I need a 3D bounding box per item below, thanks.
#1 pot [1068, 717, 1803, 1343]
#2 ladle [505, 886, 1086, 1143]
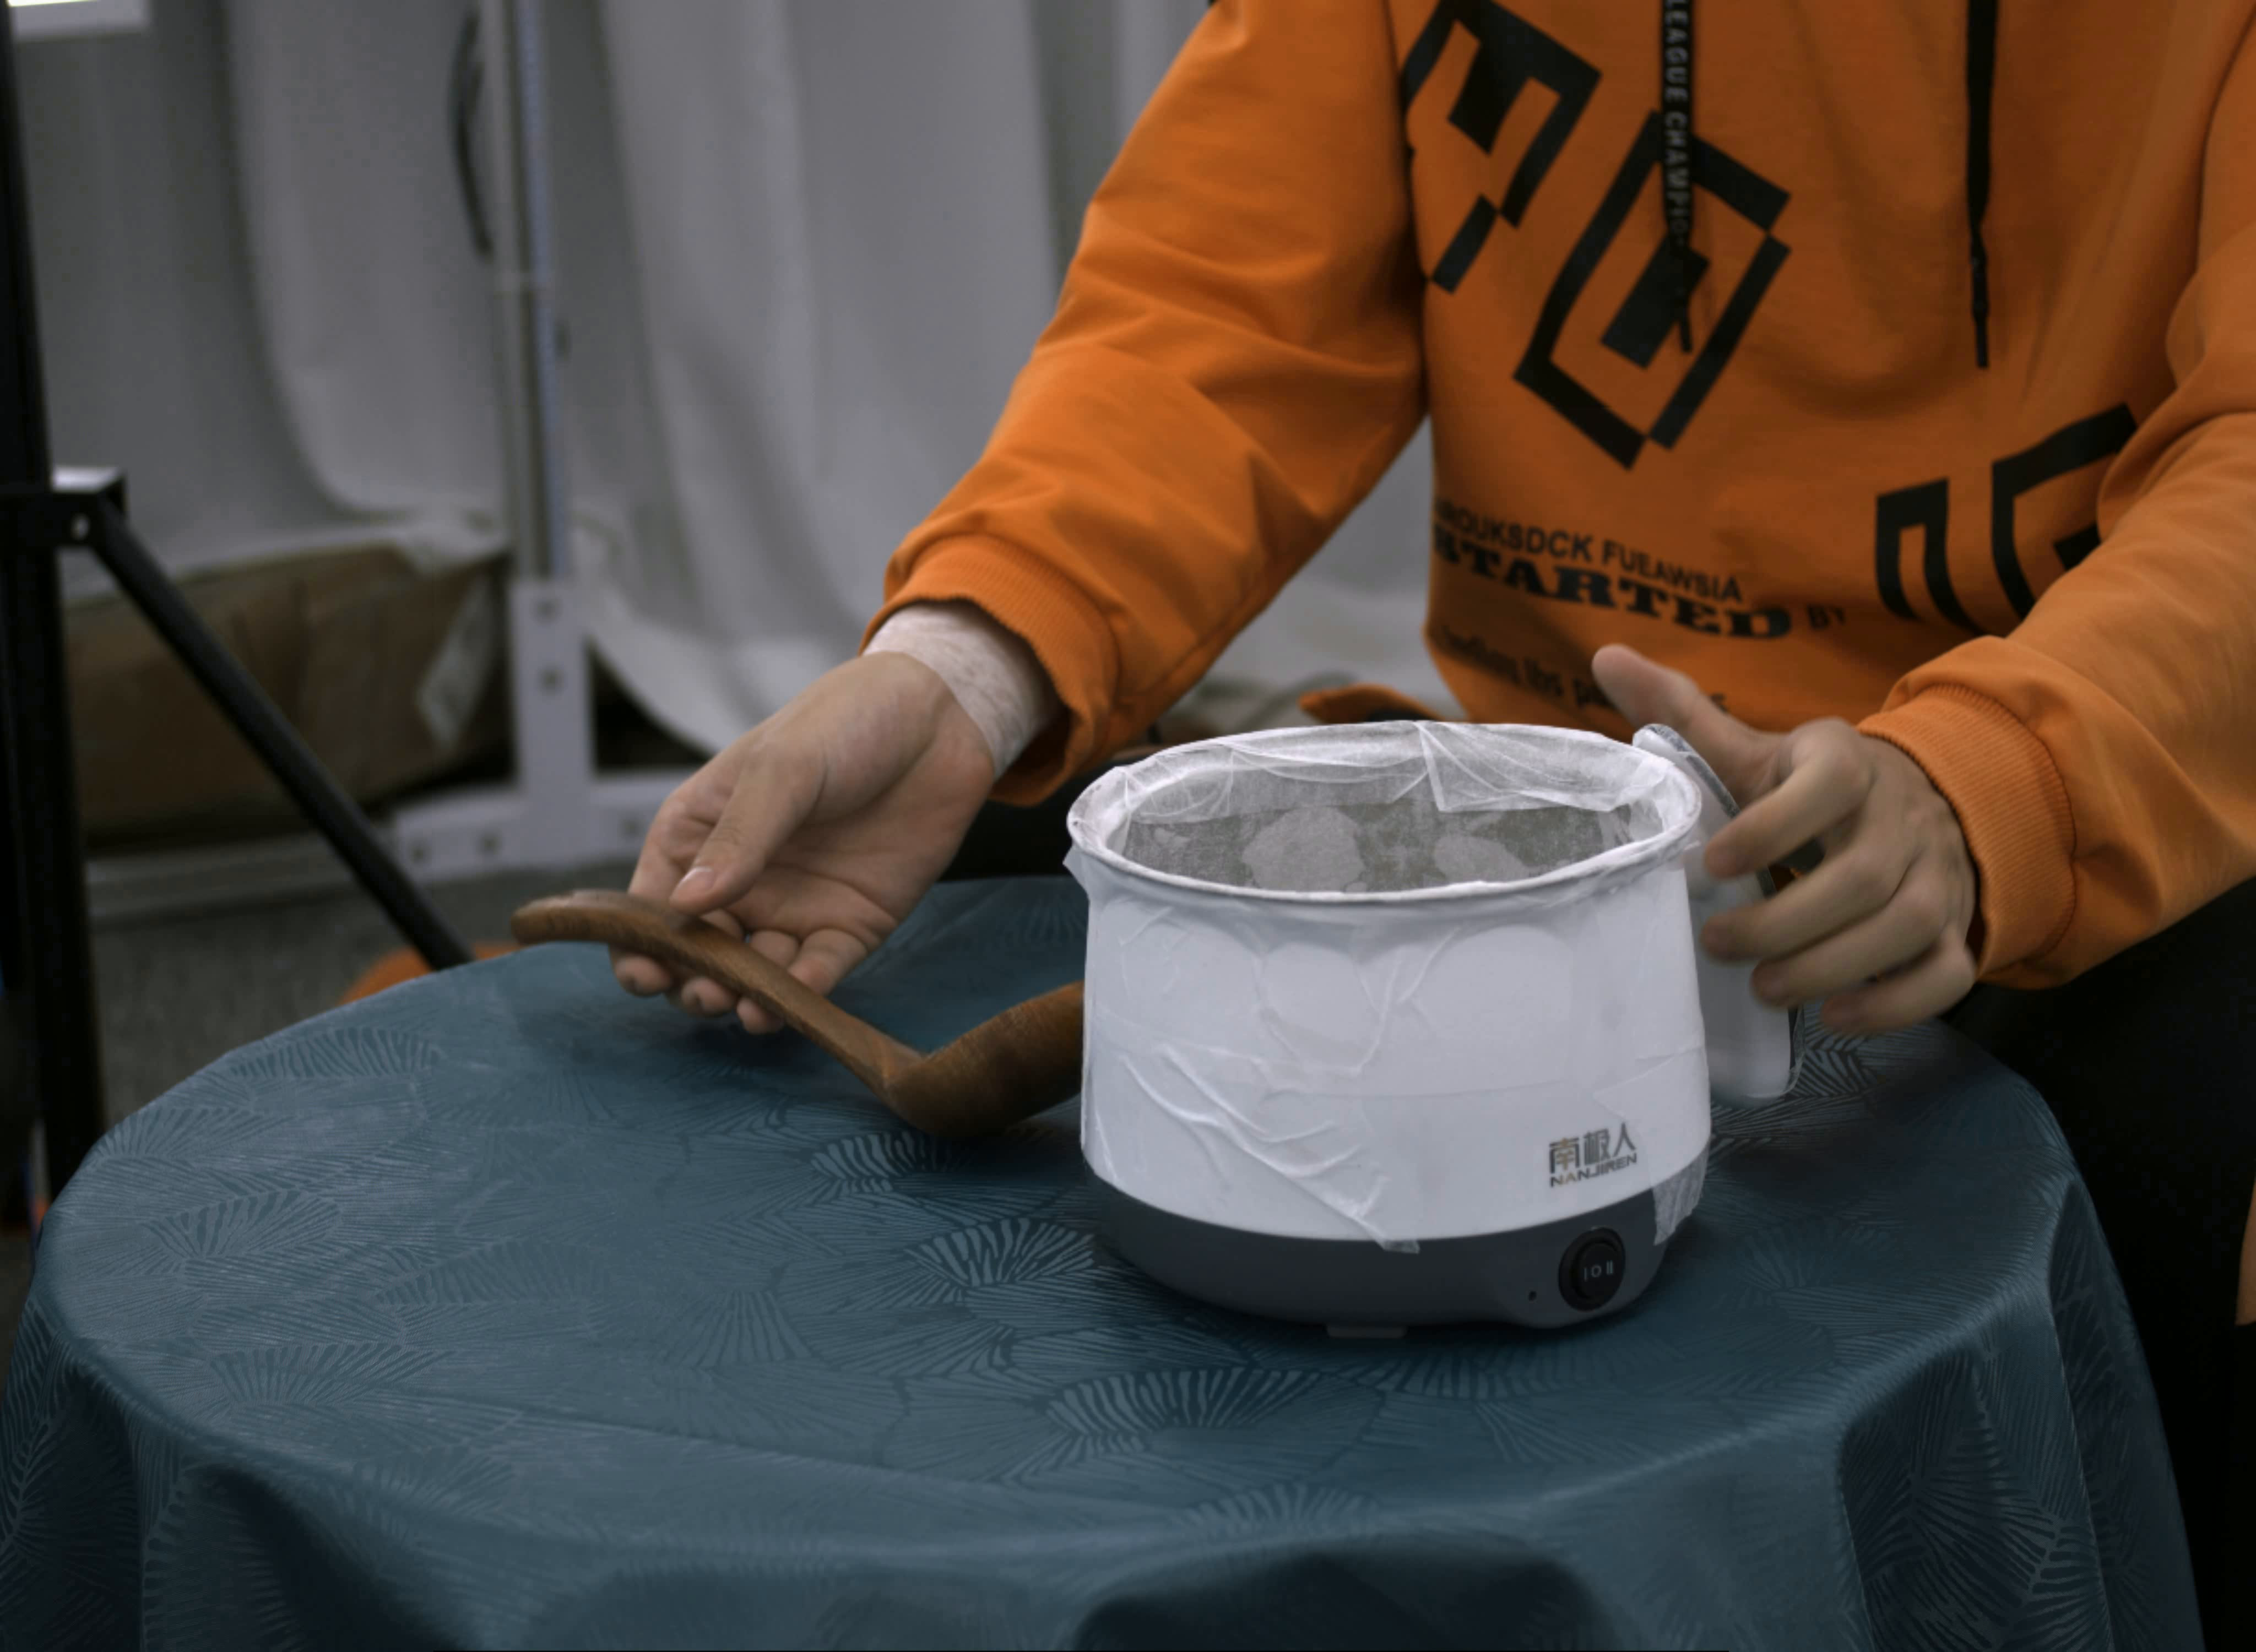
[{"bbox_3d":[0.096,0.050,1.496,0.228,0.136,0.183,-13,19,-34],"label":"pot"},{"bbox_3d":[-0.106,0.042,1.661,0.074,0.065,0.266,-12,25,-42],"label":"ladle"}]
